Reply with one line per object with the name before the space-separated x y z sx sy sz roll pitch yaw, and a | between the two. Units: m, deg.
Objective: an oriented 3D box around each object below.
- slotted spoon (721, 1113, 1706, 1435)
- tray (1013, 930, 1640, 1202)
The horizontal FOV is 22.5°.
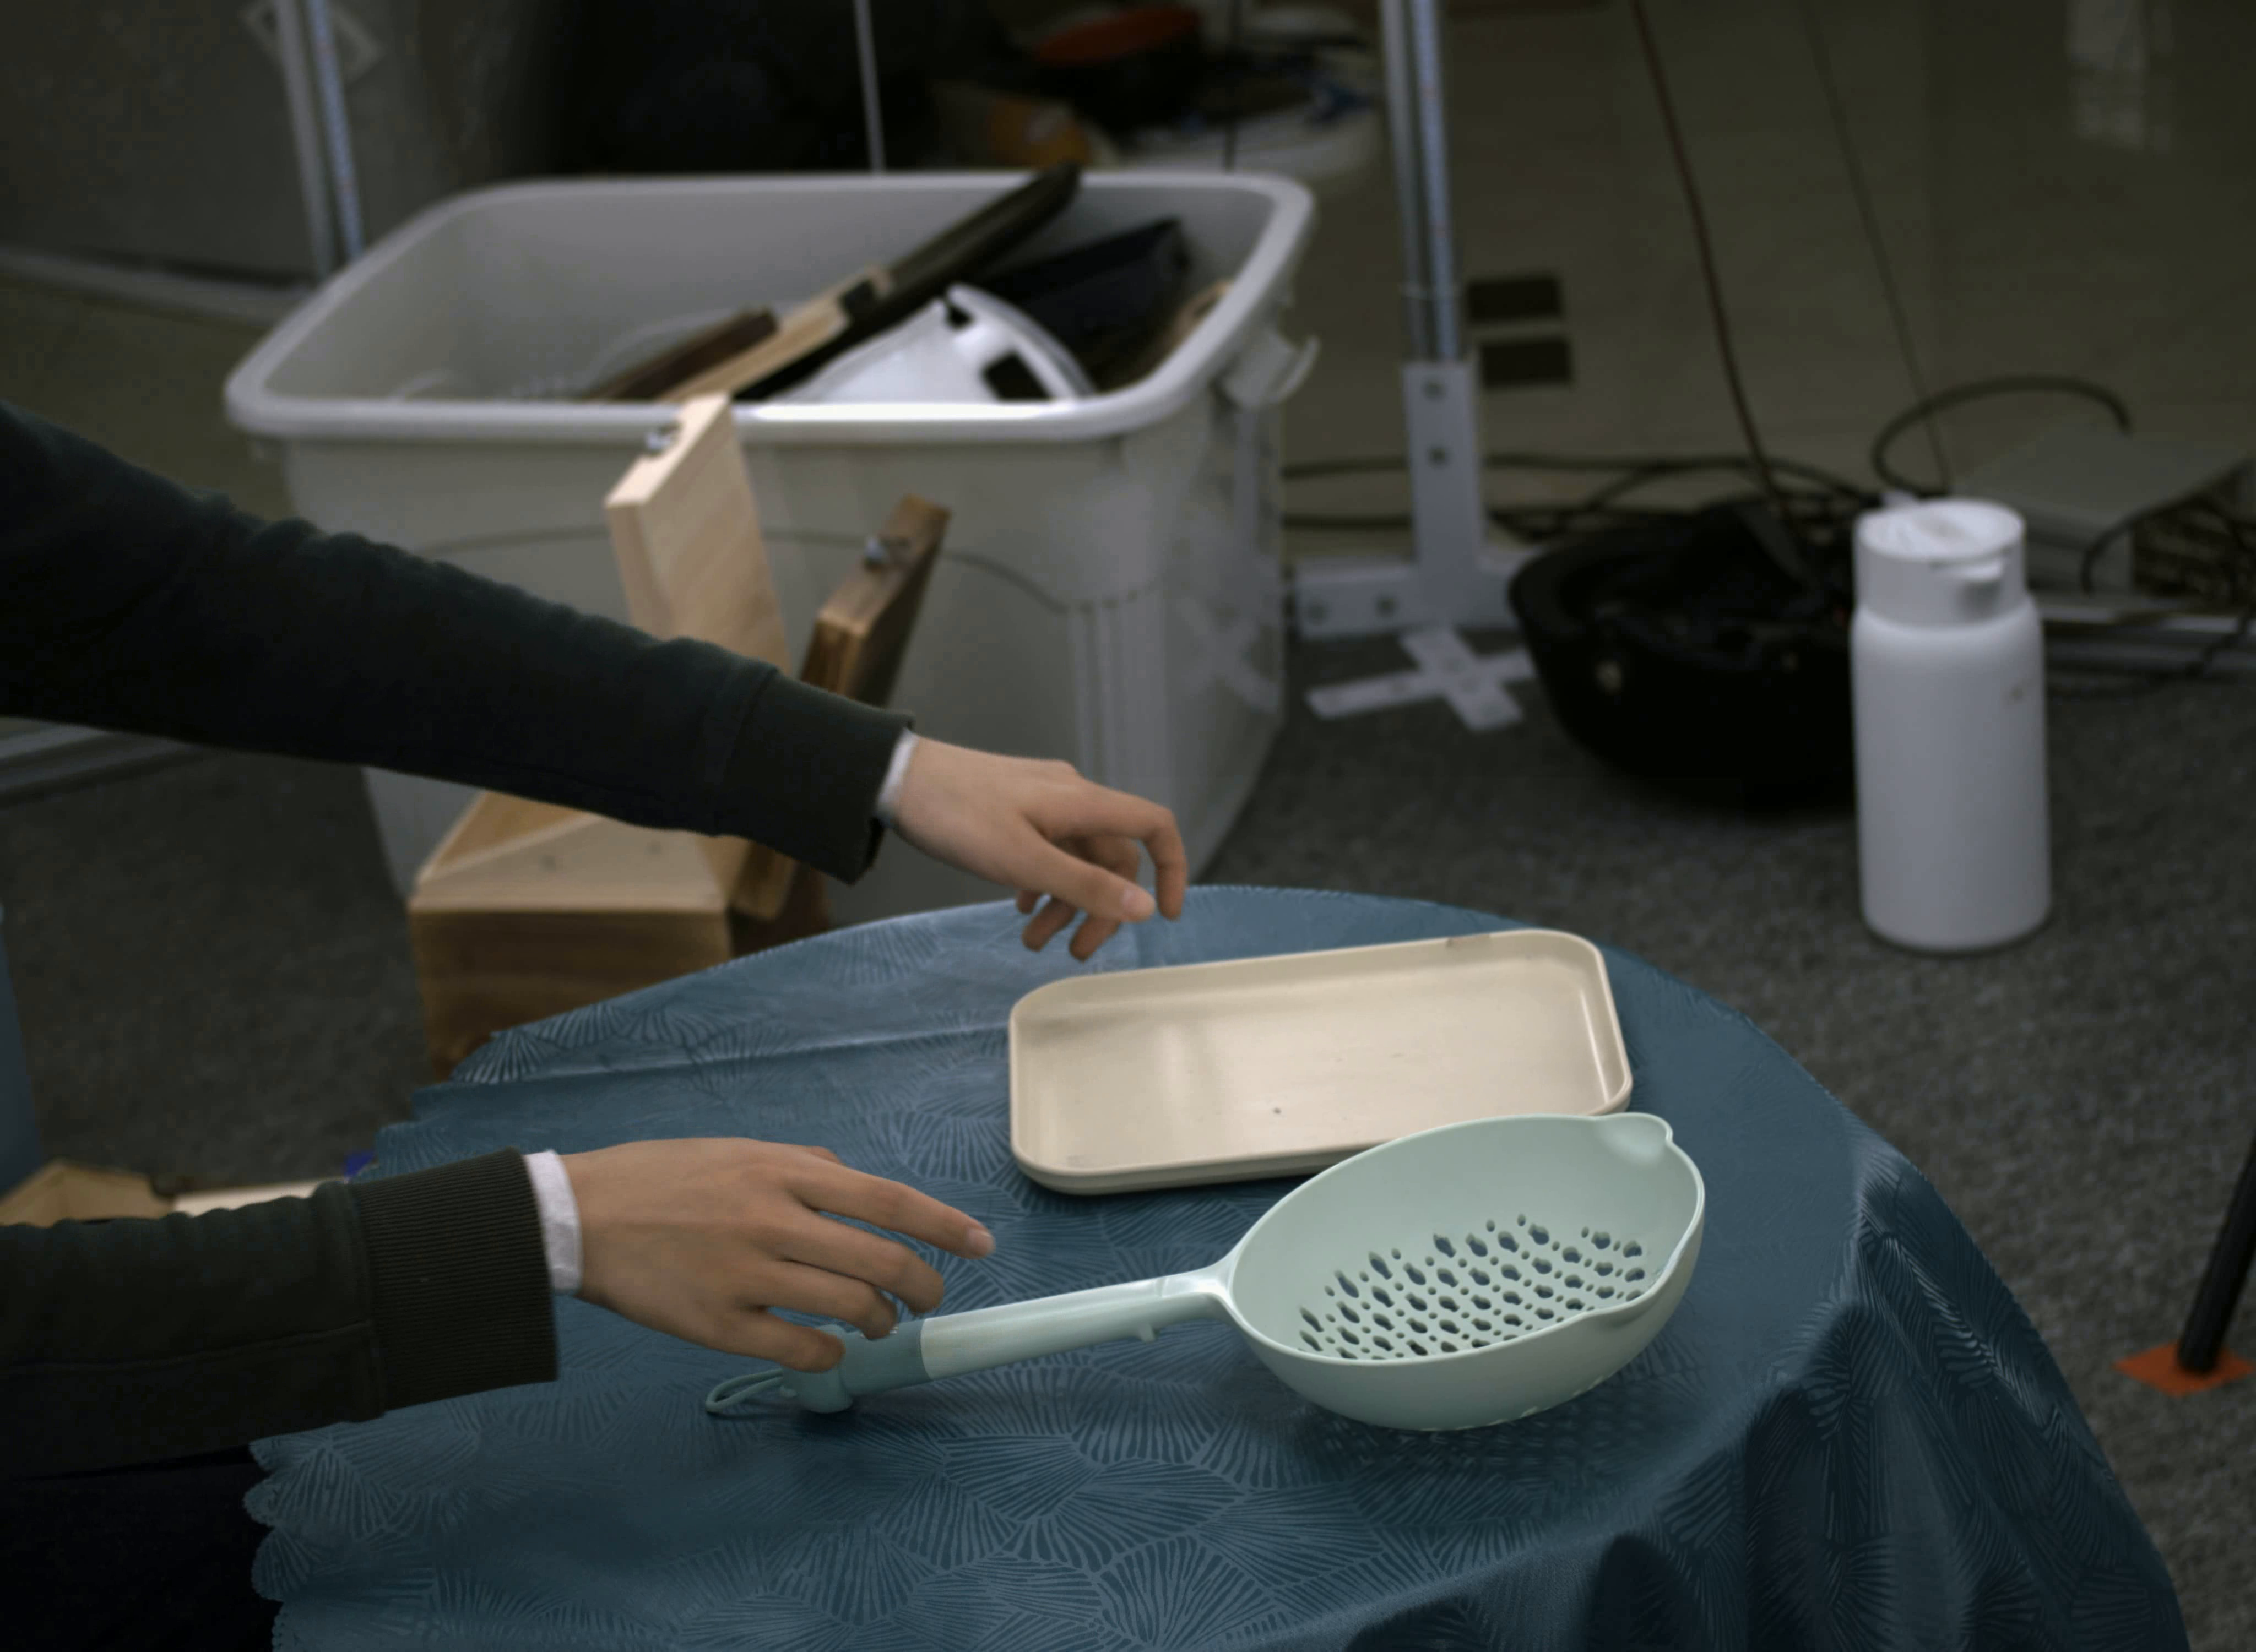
slotted spoon | 0.026 0.172 2.001 0.358 0.076 0.167 -3 24 8
tray | 0.075 0.094 2.212 0.239 0.018 0.169 -7 25 1
